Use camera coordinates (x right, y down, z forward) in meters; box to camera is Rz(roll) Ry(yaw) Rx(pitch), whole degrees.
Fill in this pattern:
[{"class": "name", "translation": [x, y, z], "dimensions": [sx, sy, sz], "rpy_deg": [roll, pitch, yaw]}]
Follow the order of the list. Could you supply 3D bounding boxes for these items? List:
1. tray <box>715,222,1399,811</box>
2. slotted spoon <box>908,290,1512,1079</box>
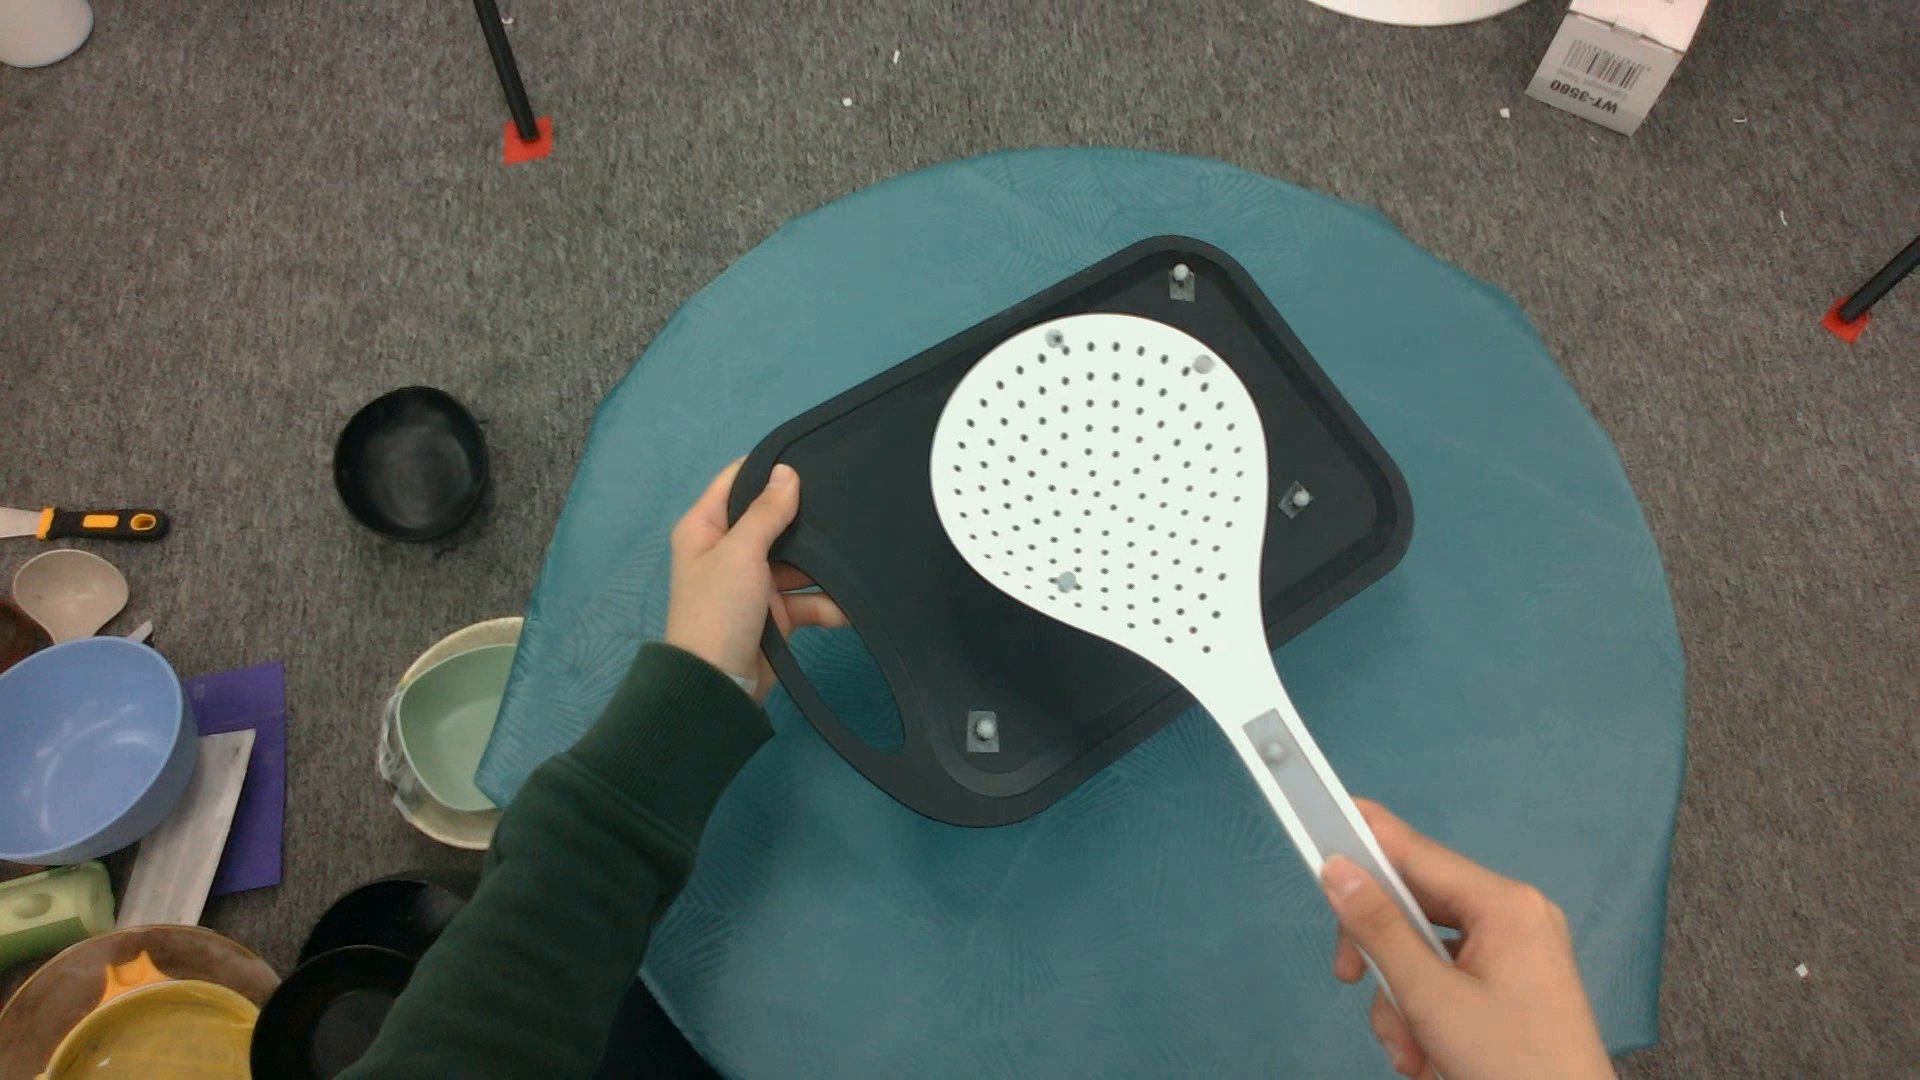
[{"class": "tray", "translation": [0.050, -0.022, 0.645], "dimensions": [0.326, 0.010, 0.211], "rpy_deg": [-30, 78, -23]}, {"class": "slotted spoon", "translation": [0.099, 0.047, 0.534], "dimensions": [0.136, 0.045, 0.350], "rpy_deg": [-28, 66, -7]}]
